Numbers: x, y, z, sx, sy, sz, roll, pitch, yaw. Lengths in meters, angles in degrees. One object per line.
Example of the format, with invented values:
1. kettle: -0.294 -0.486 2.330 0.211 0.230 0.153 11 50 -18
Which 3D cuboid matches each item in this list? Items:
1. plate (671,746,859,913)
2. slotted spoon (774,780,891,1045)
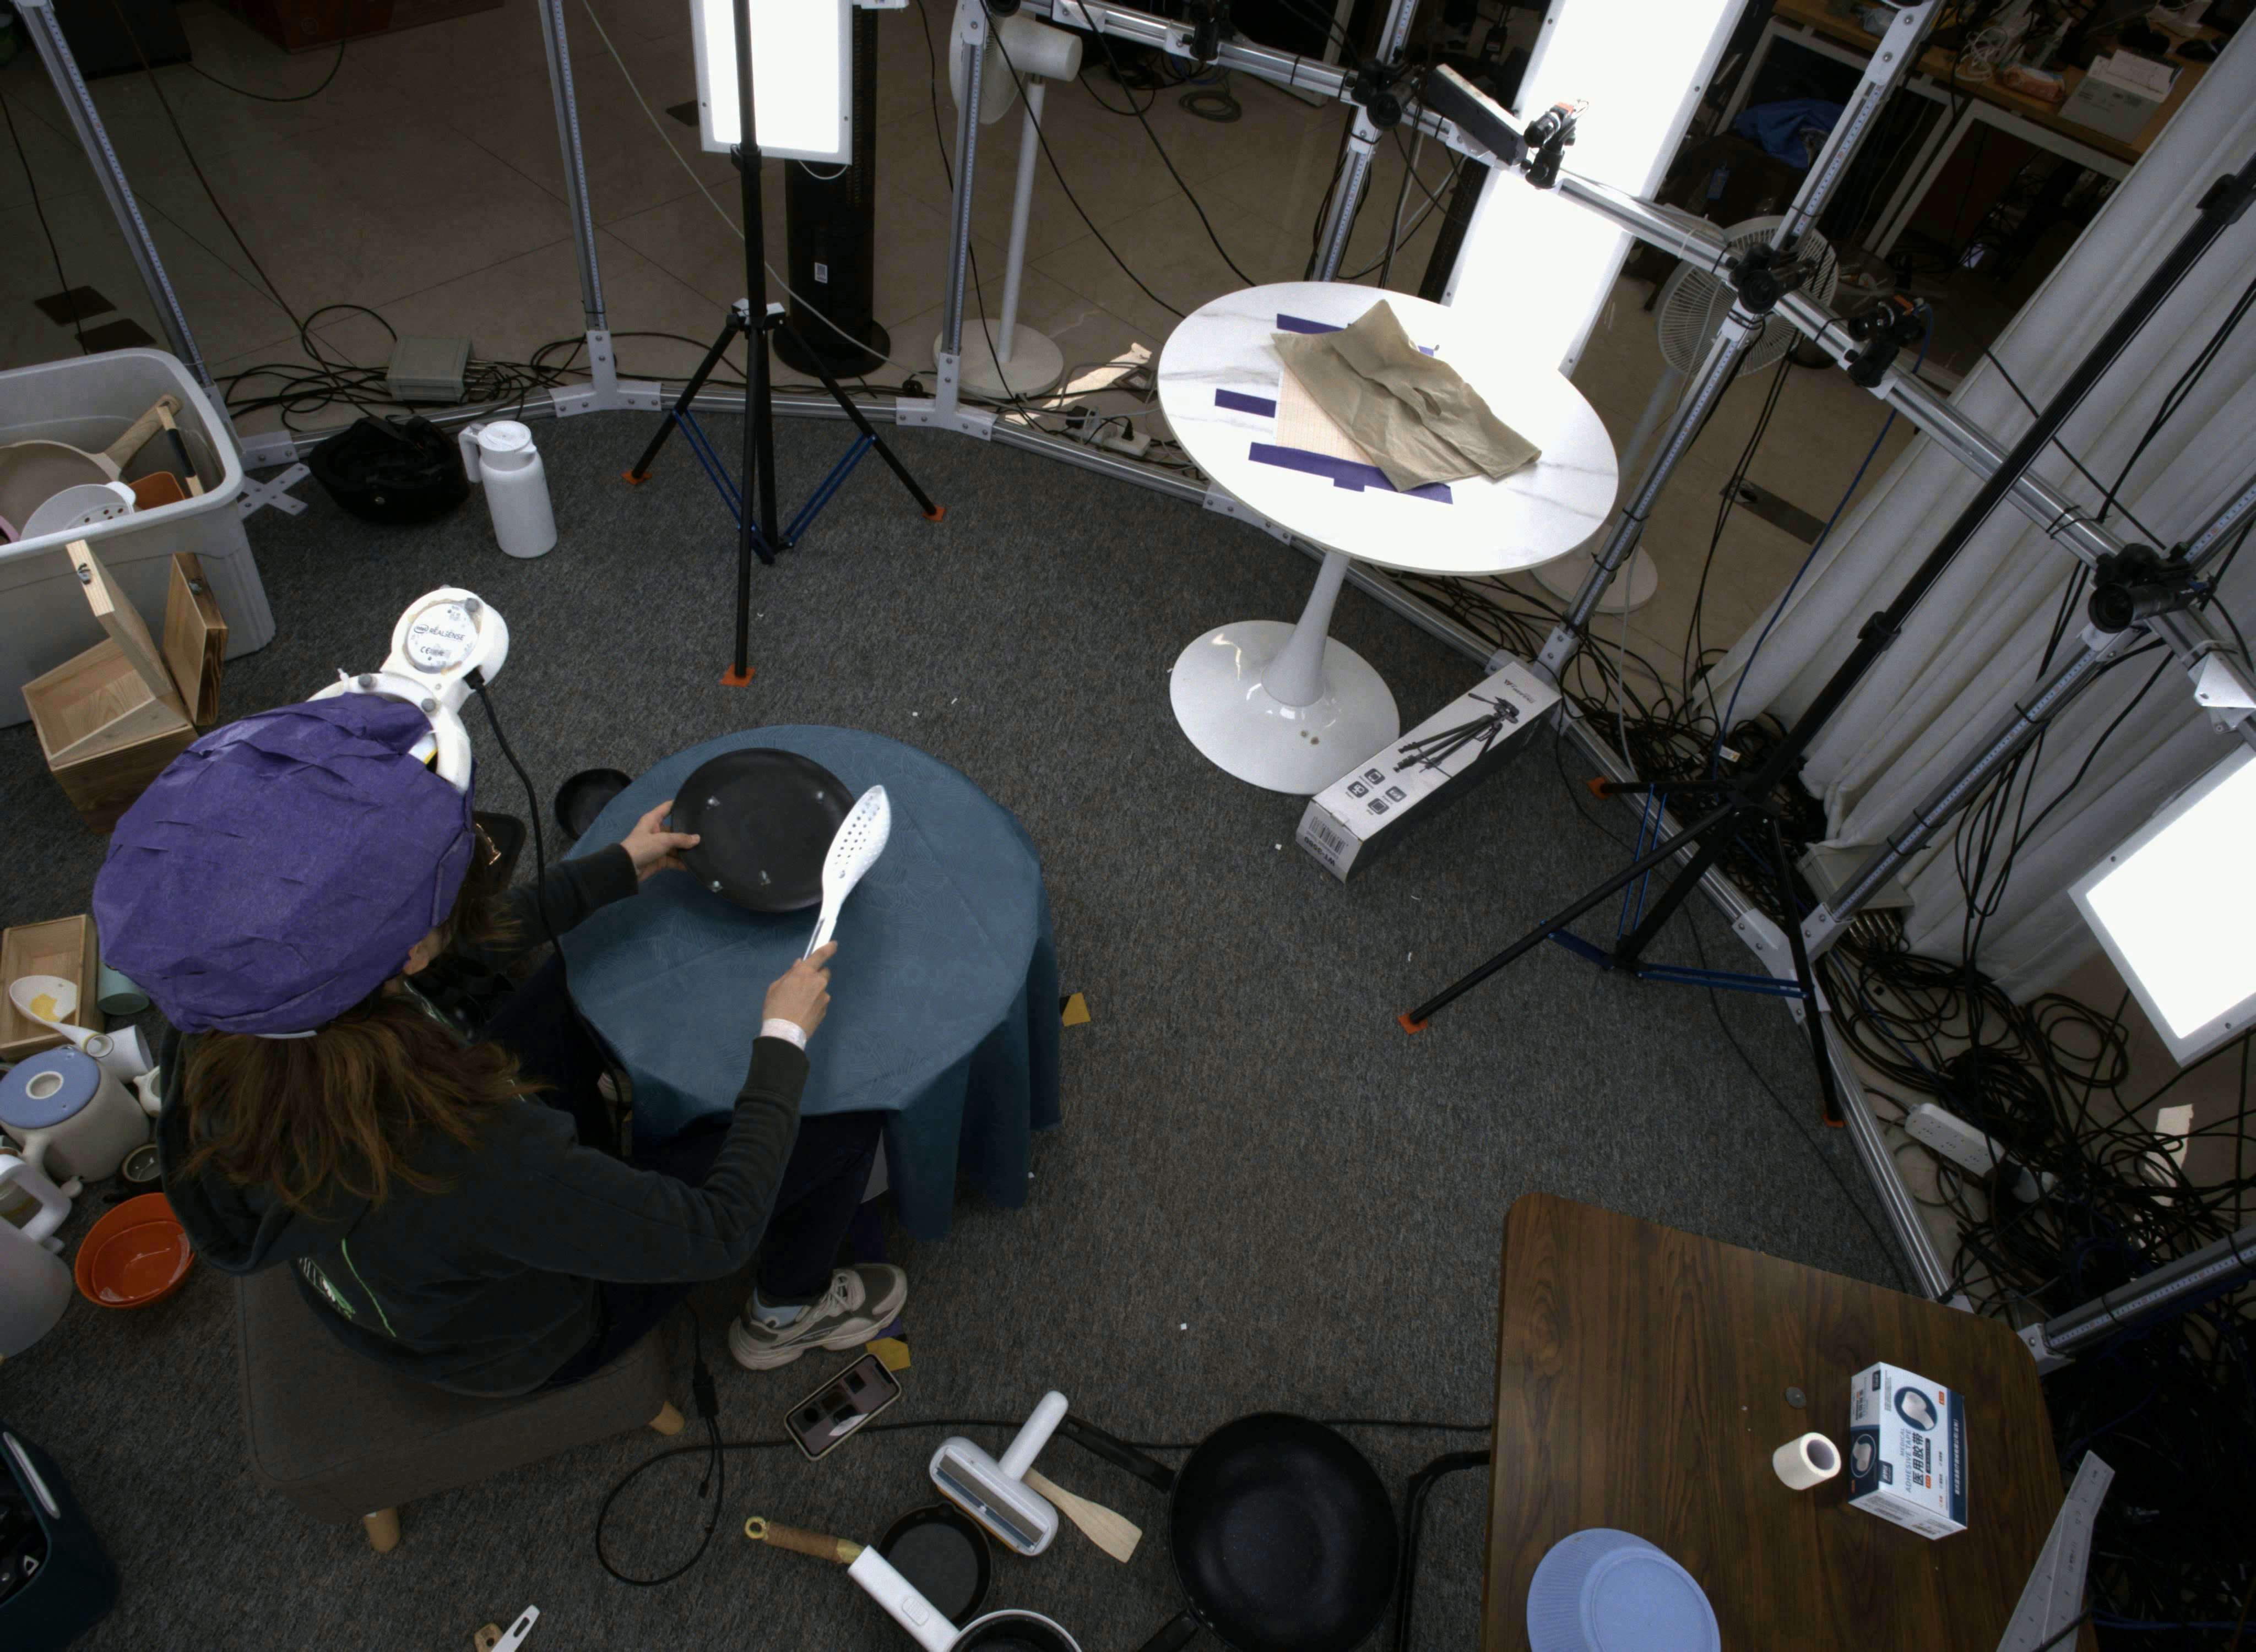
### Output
1. plate: -0.459 0.005 1.654 0.247 0.023 0.240 15 55 -20
2. slotted spoon: -0.349 0.094 1.526 0.047 0.134 0.346 34 52 -21
